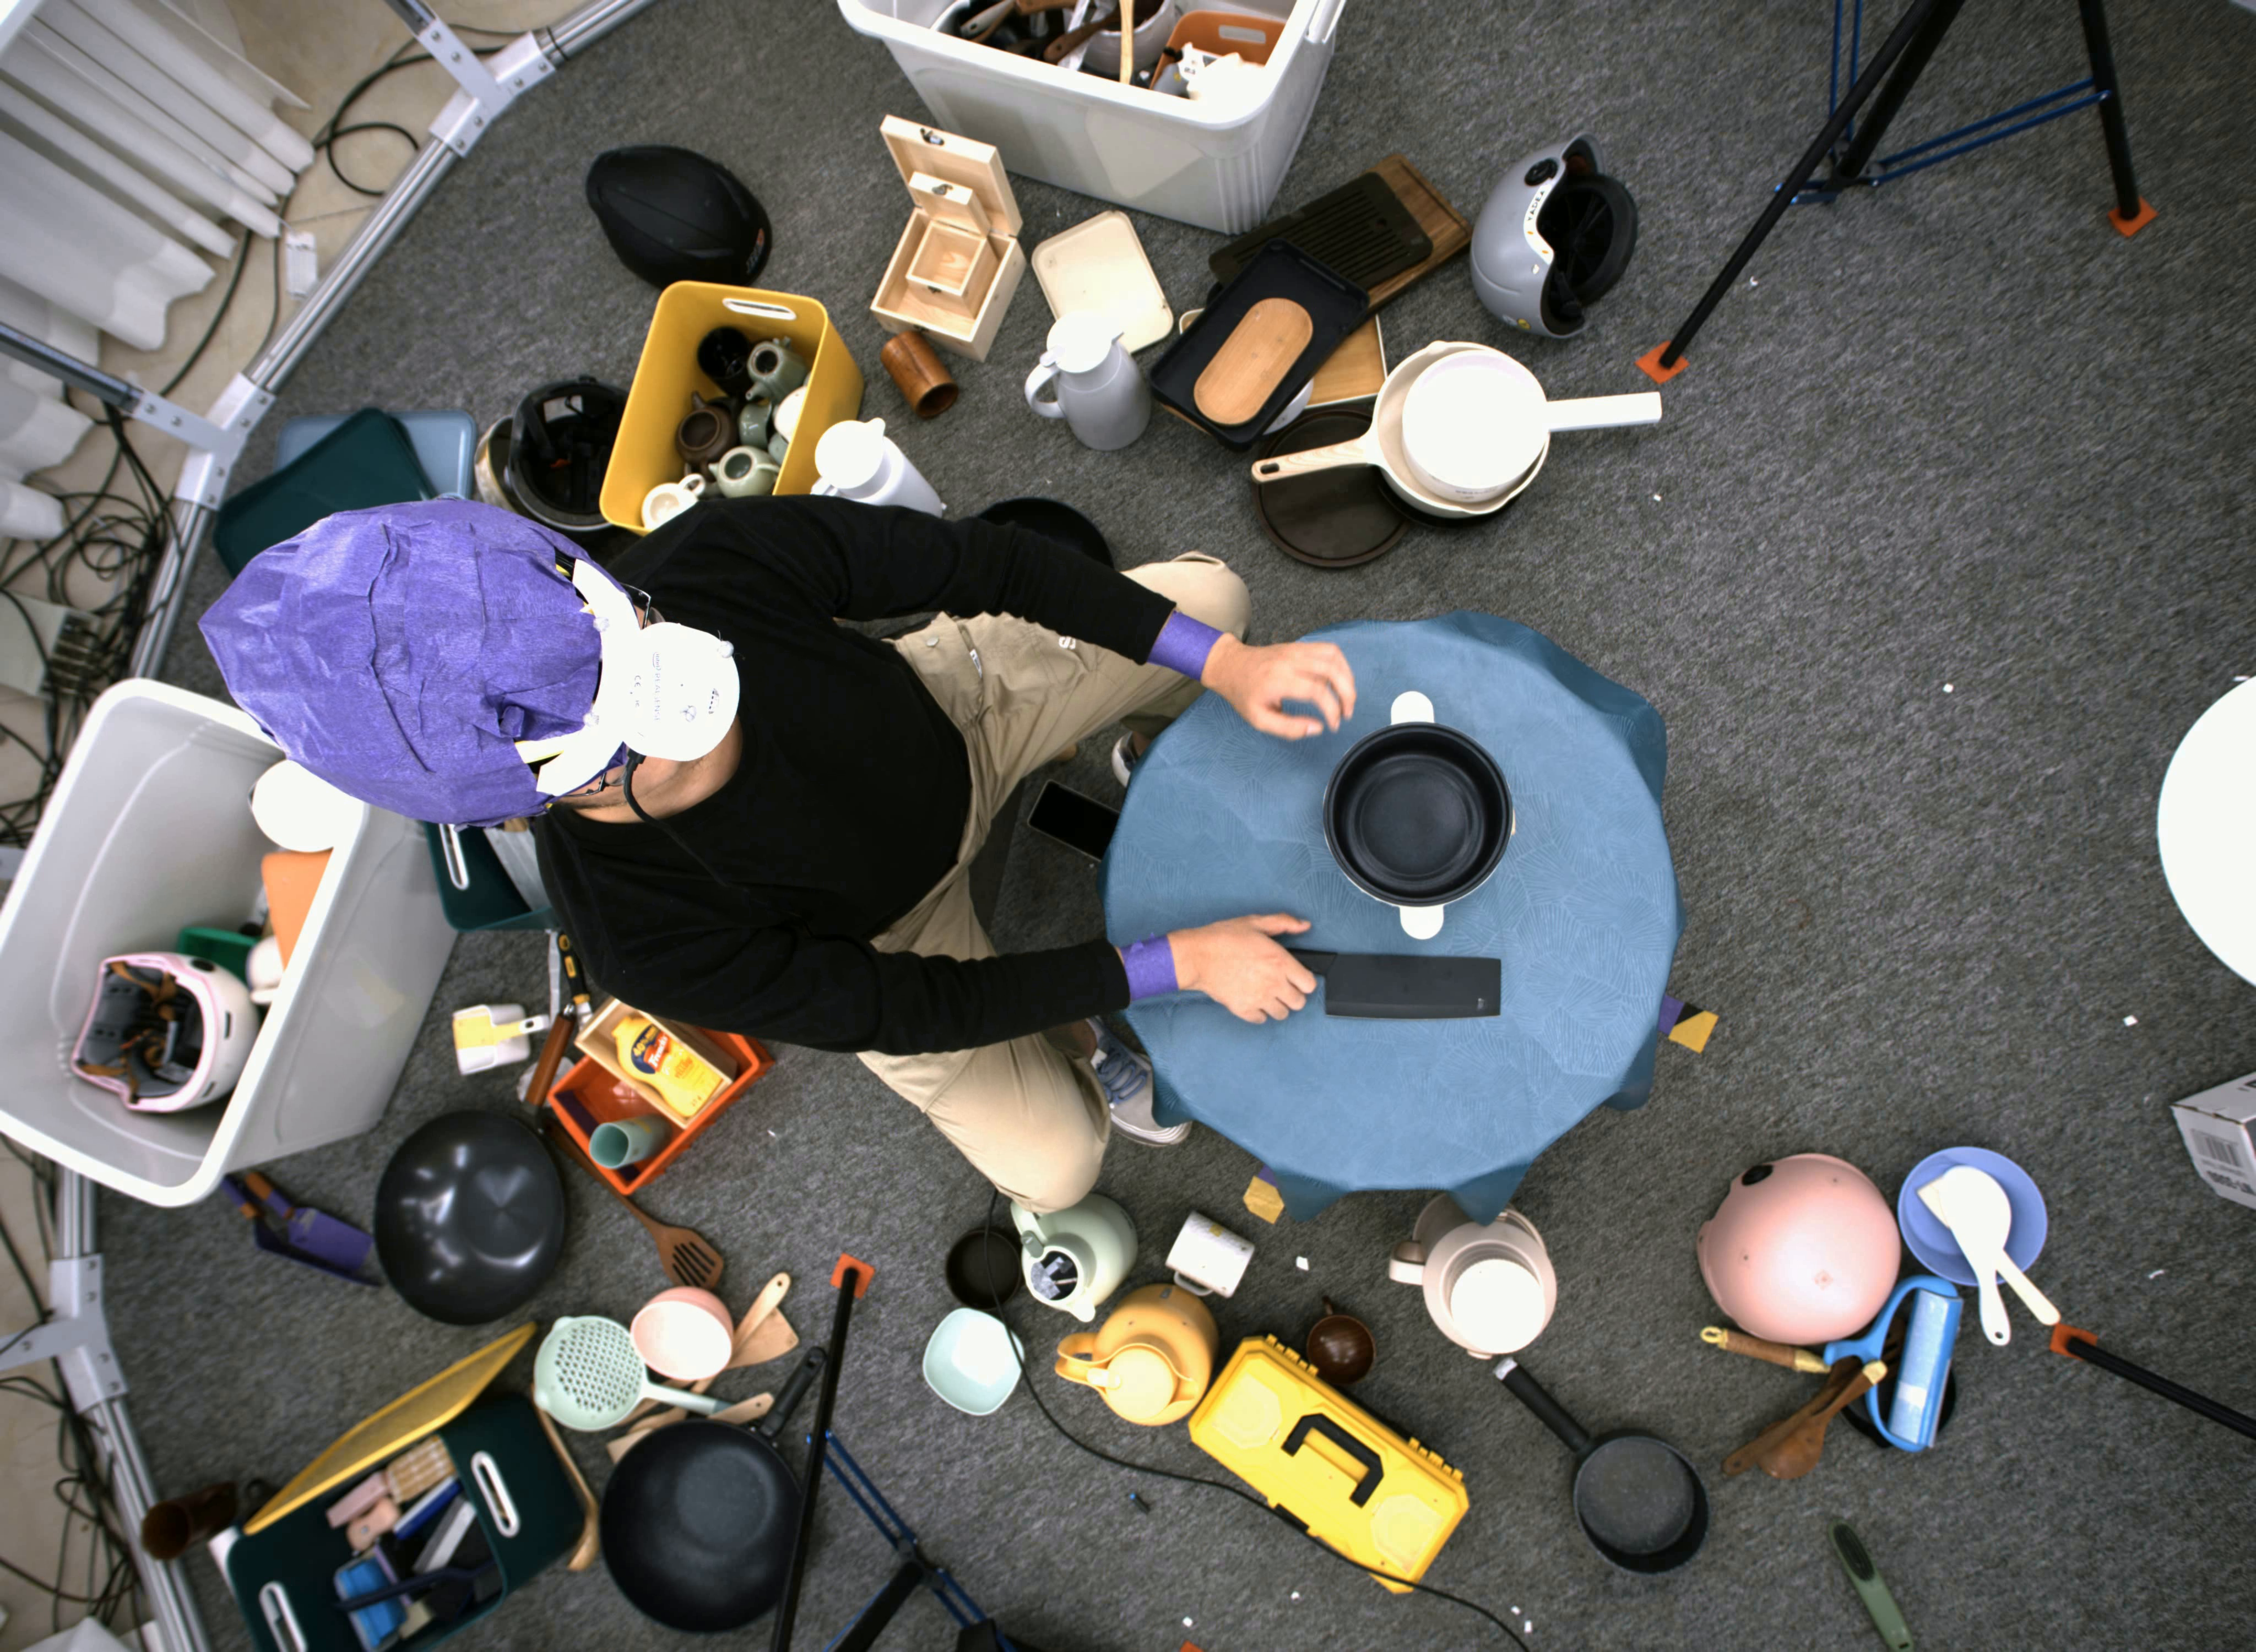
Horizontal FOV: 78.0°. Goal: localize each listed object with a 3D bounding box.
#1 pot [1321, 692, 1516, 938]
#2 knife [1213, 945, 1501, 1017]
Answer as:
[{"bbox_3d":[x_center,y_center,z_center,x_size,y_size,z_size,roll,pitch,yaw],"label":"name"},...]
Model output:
[{"bbox_3d":[0.295,-0.008,1.390,0.191,0.142,0.239,-3,87,14],"label":"pot"},{"bbox_3d":[0.240,0.160,1.456,0.303,0.021,0.080,6,88,9],"label":"knife"}]
